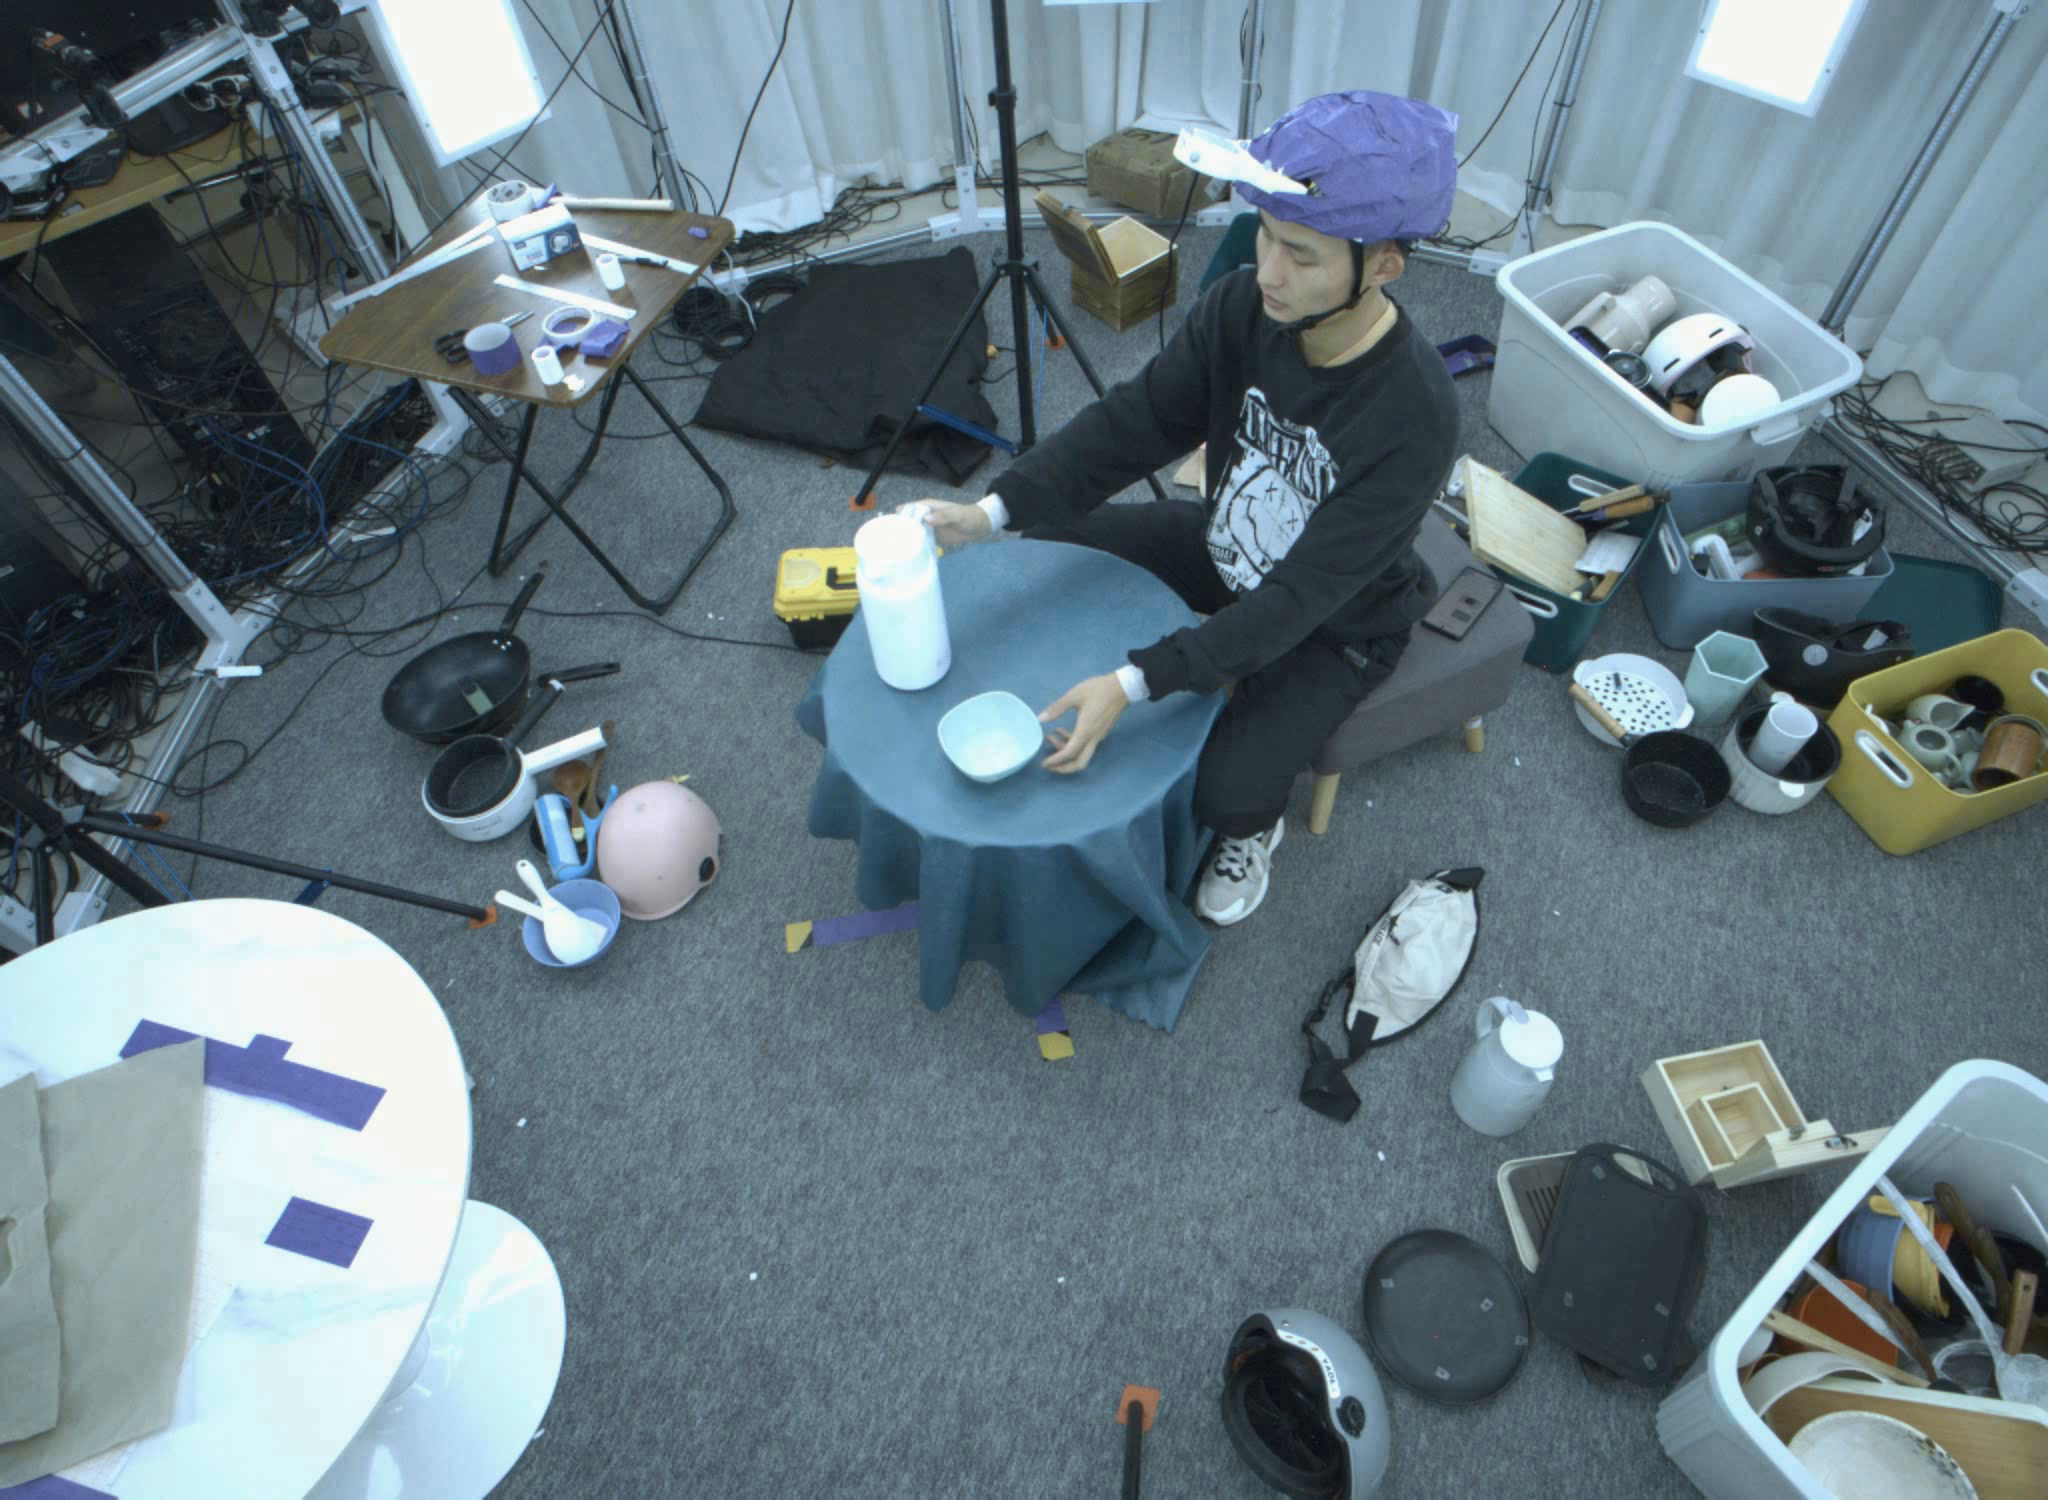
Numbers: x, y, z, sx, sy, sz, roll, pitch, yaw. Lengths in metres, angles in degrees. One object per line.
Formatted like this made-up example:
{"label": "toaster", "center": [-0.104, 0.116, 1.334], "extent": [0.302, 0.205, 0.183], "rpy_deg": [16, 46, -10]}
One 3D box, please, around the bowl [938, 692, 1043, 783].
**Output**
{"label": "bowl", "center": [-0.046, -0.008, 1.758], "extent": [0.151, 0.059, 0.150], "rpy_deg": [0, 54, 1]}

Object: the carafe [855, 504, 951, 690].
{"label": "carafe", "center": [-0.173, -0.225, 1.785], "extent": [0.122, 0.272, 0.172], "rpy_deg": [12, 56, 15]}
